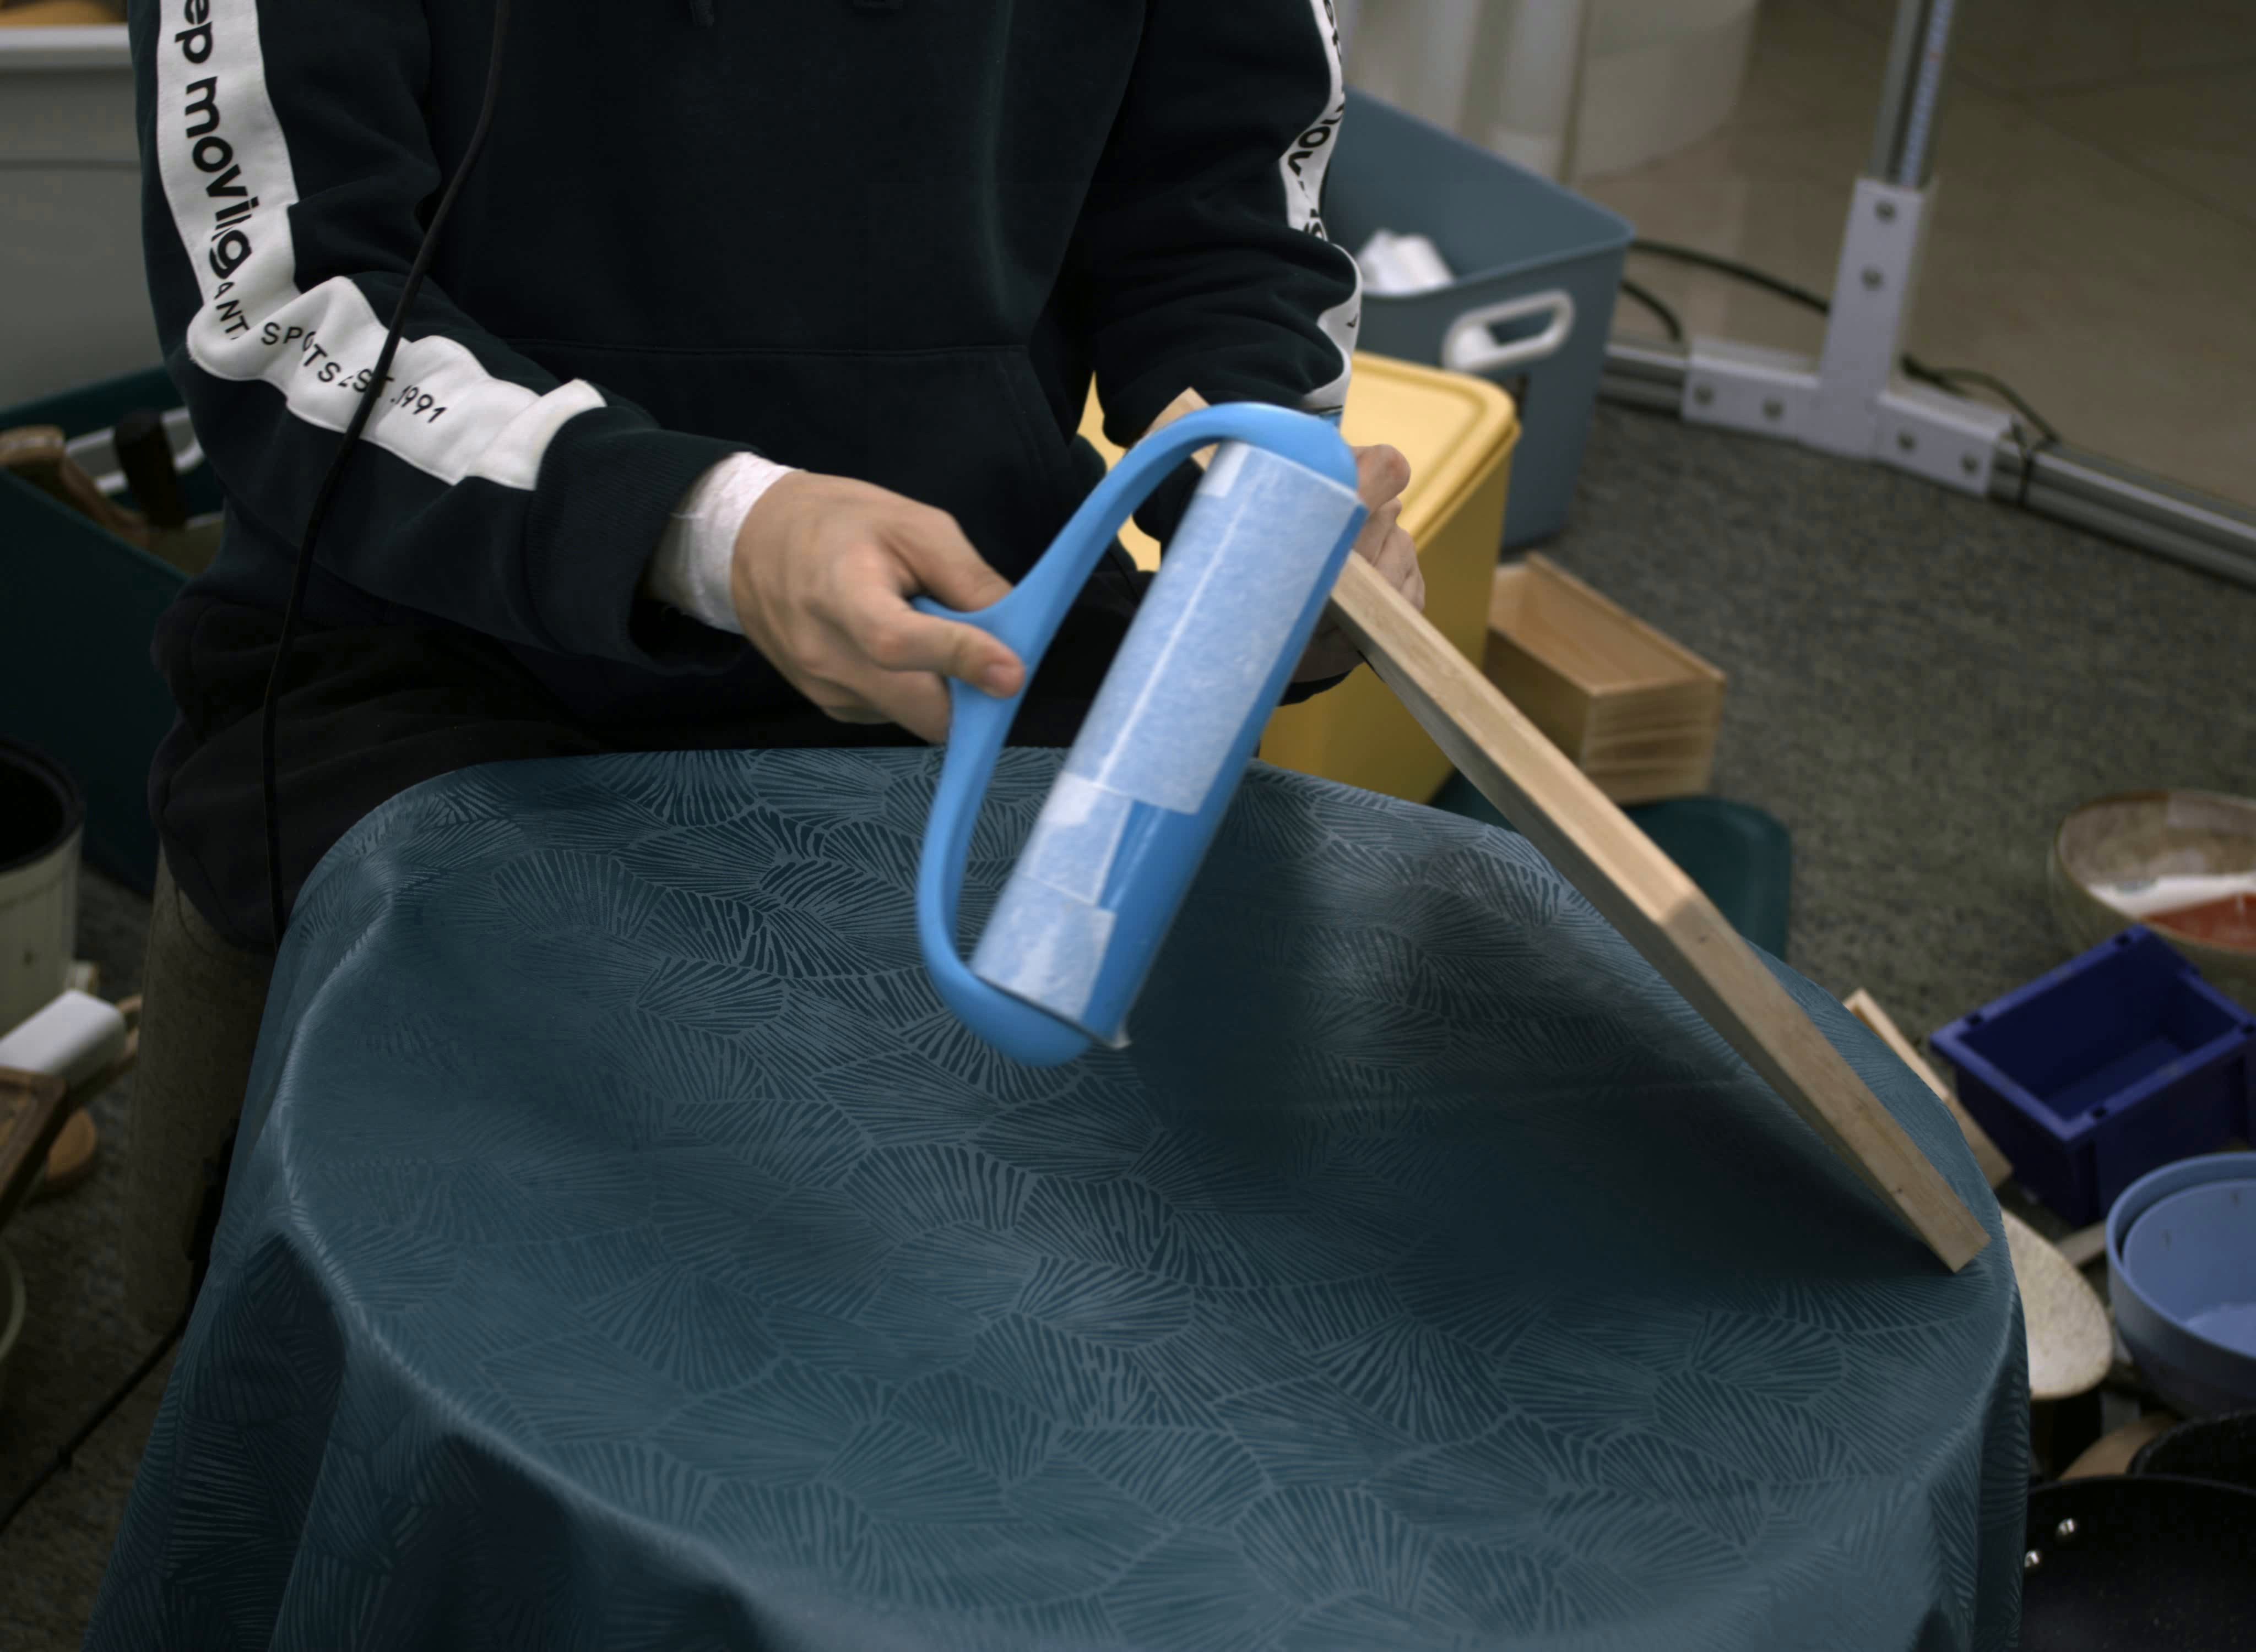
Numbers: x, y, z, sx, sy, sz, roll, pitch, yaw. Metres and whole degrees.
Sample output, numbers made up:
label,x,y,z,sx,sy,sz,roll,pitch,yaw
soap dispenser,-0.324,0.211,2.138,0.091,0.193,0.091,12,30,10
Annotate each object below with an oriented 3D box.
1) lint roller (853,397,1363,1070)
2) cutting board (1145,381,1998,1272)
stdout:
label,x,y,z,sx,sy,sz,roll,pitch,yaw
lint roller,-0.036,-0.045,1.739,0.181,0.229,0.067,20,-5,35
cutting board,0.150,-0.003,1.851,0.023,0.248,0.352,-43,44,0
